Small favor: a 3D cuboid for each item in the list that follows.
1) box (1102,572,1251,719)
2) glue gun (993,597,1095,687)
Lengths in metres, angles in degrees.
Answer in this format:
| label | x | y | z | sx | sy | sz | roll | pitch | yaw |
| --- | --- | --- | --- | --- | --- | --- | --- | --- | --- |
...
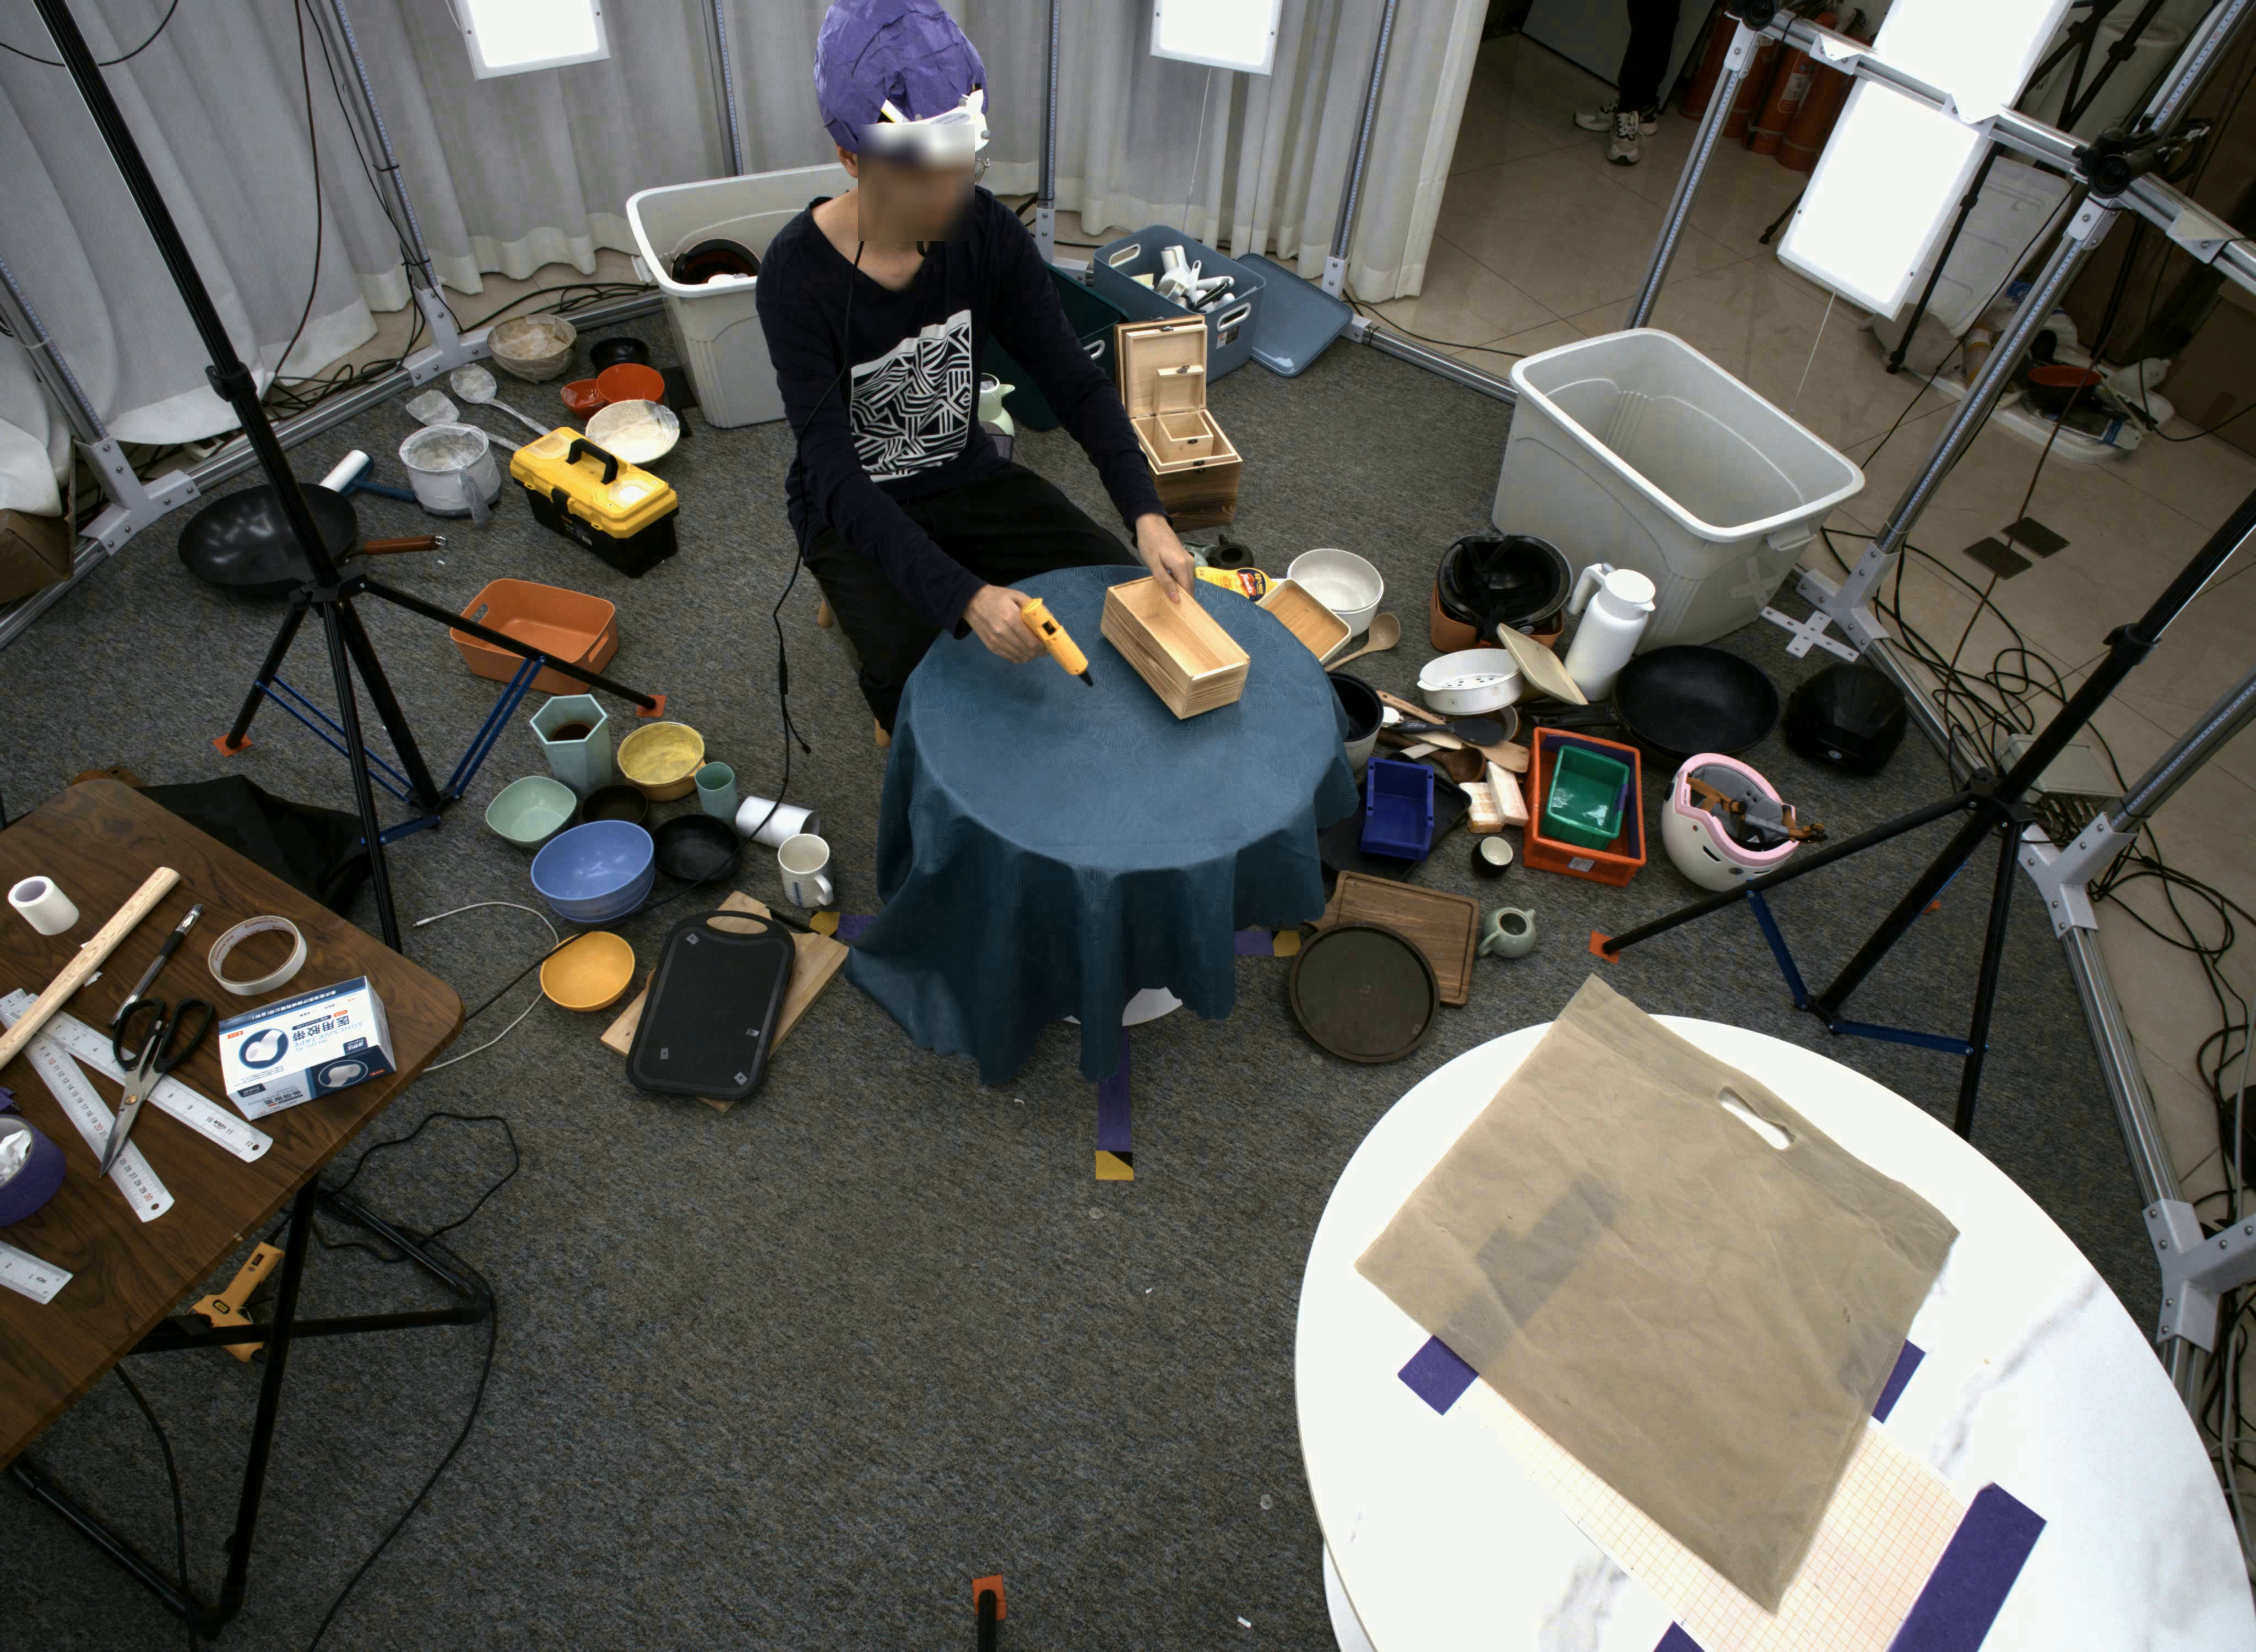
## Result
| label | x | y | z | sx | sy | sz | roll | pitch | yaw |
| --- | --- | --- | --- | --- | --- | --- | --- | --- | --- |
| box | 0.066 | -0.261 | 1.833 | 0.108 | 0.078 | 0.216 | -18 | 53 | -28 |
| glue gun | -0.111 | -0.246 | 1.777 | 0.031 | 0.149 | 0.133 | -48 | 21 | -20 |
